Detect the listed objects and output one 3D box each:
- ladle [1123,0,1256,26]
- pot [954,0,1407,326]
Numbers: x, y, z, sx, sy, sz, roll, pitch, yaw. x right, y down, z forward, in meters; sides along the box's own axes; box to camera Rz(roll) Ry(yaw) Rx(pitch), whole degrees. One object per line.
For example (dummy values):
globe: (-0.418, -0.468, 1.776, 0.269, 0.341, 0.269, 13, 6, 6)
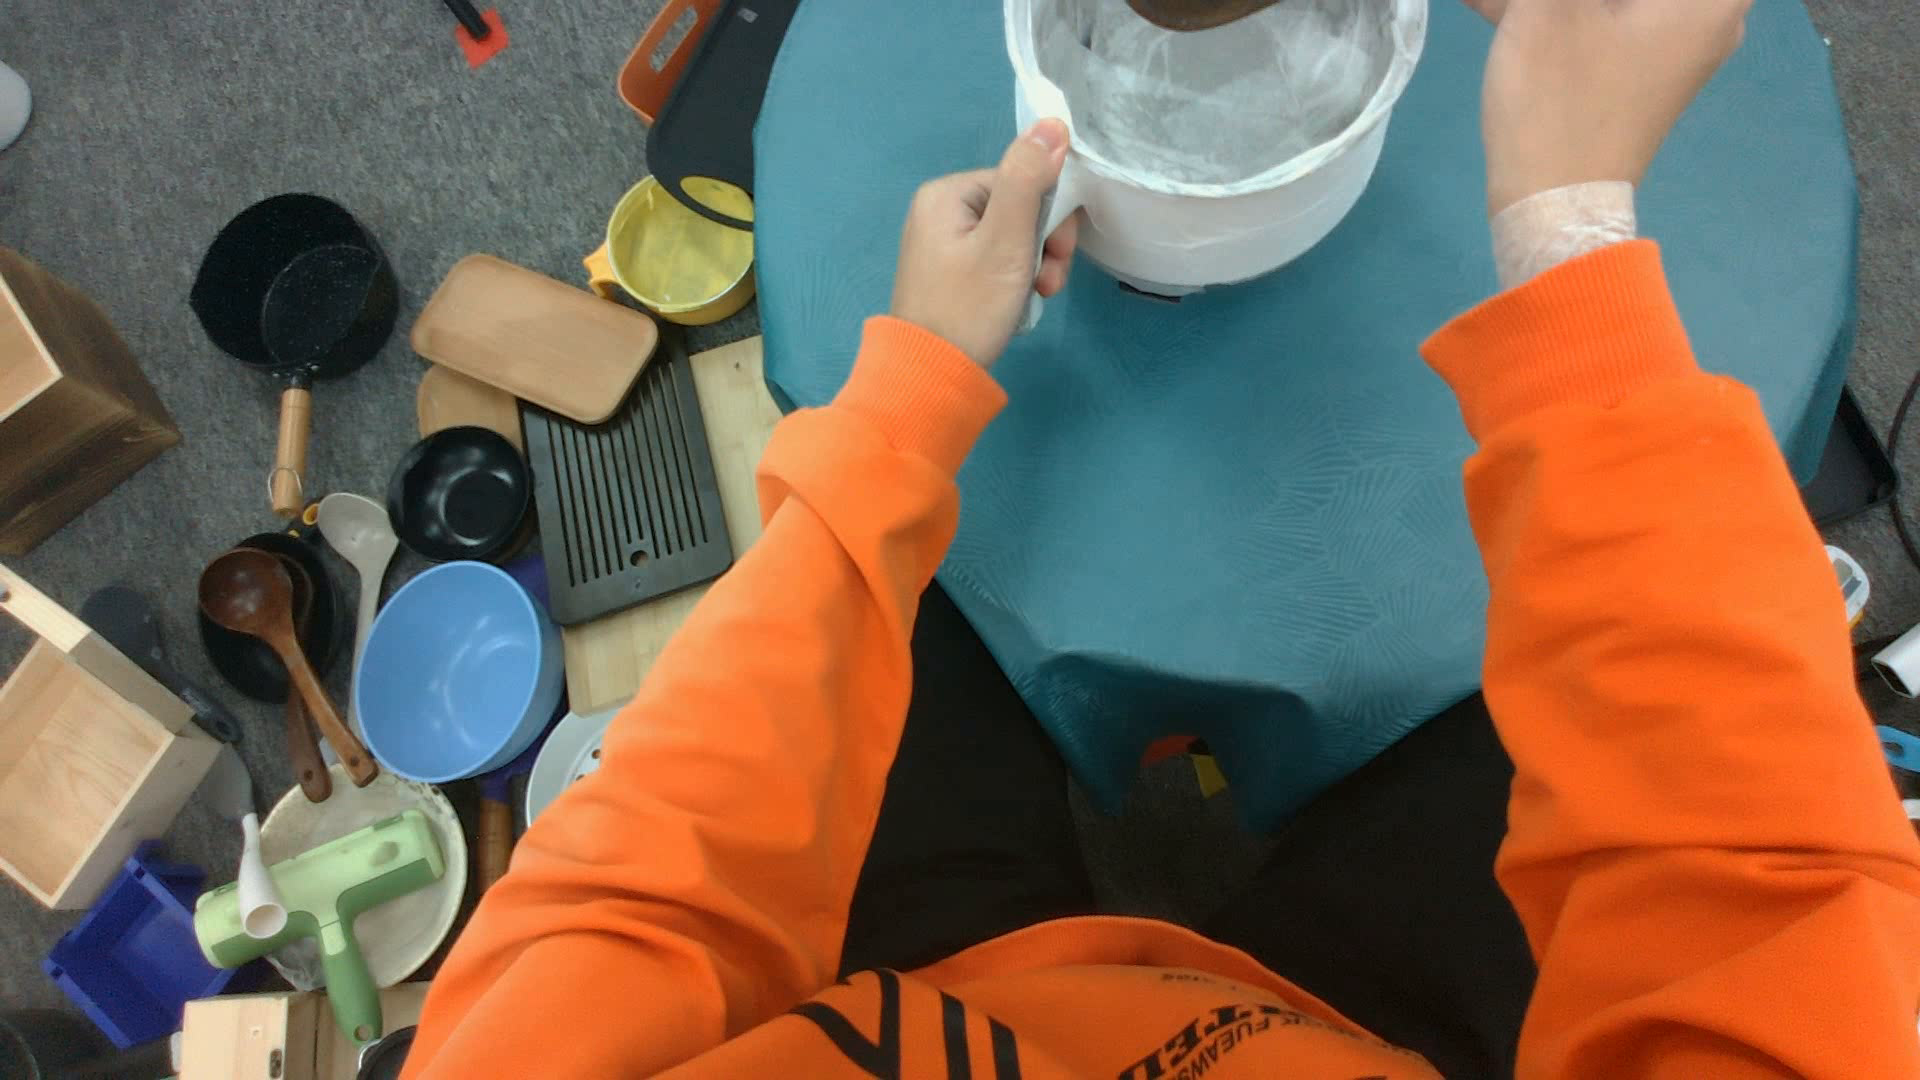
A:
ladle: (0.166, -0.242, 0.509, 0.273, 0.071, 0.076, 14, 92, 49)
pot: (0.088, -0.200, 0.646, 0.179, 0.136, 0.234, 44, 86, 12)
